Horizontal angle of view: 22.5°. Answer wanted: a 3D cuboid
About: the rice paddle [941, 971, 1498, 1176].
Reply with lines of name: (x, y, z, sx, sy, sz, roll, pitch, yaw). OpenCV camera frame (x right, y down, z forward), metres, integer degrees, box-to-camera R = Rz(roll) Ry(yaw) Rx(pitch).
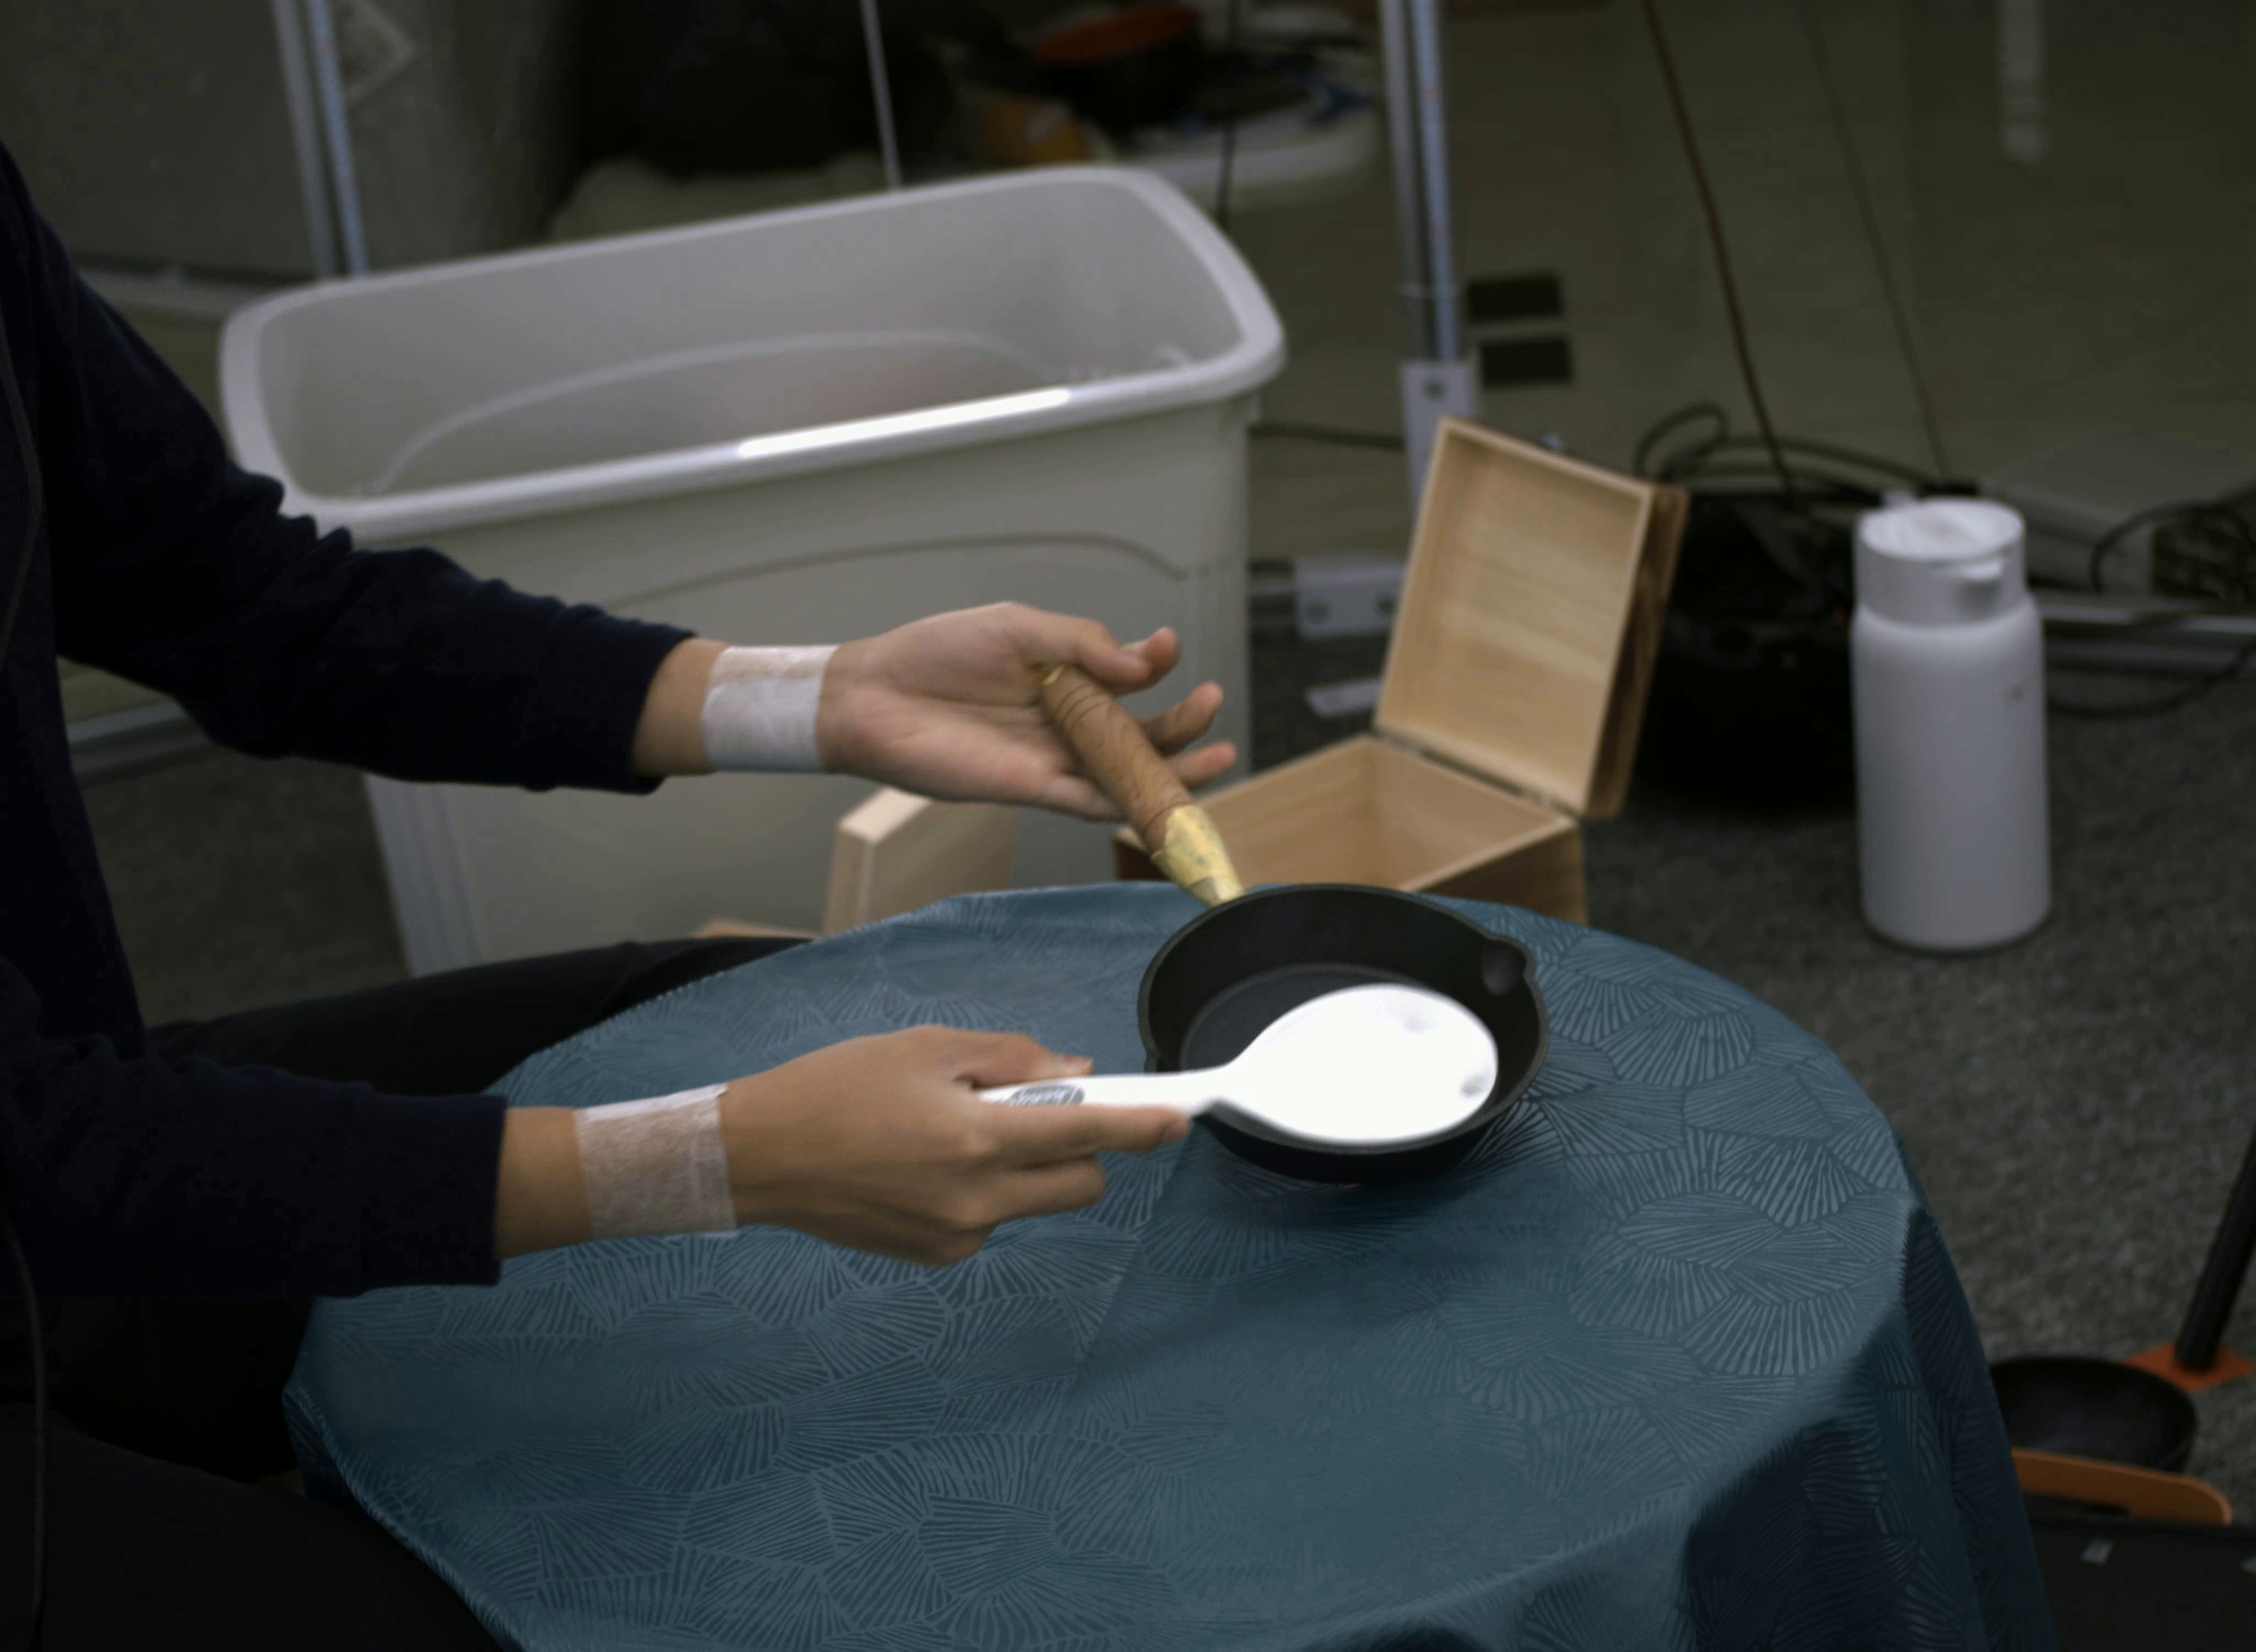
rice paddle: (0.035, 0.091, 2.038, 0.205, 0.030, 0.067, -10, 55, -11)

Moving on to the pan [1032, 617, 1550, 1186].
pan: (0.044, 0.027, 2.217, 0.168, 0.050, 0.319, -17, 46, -22)
